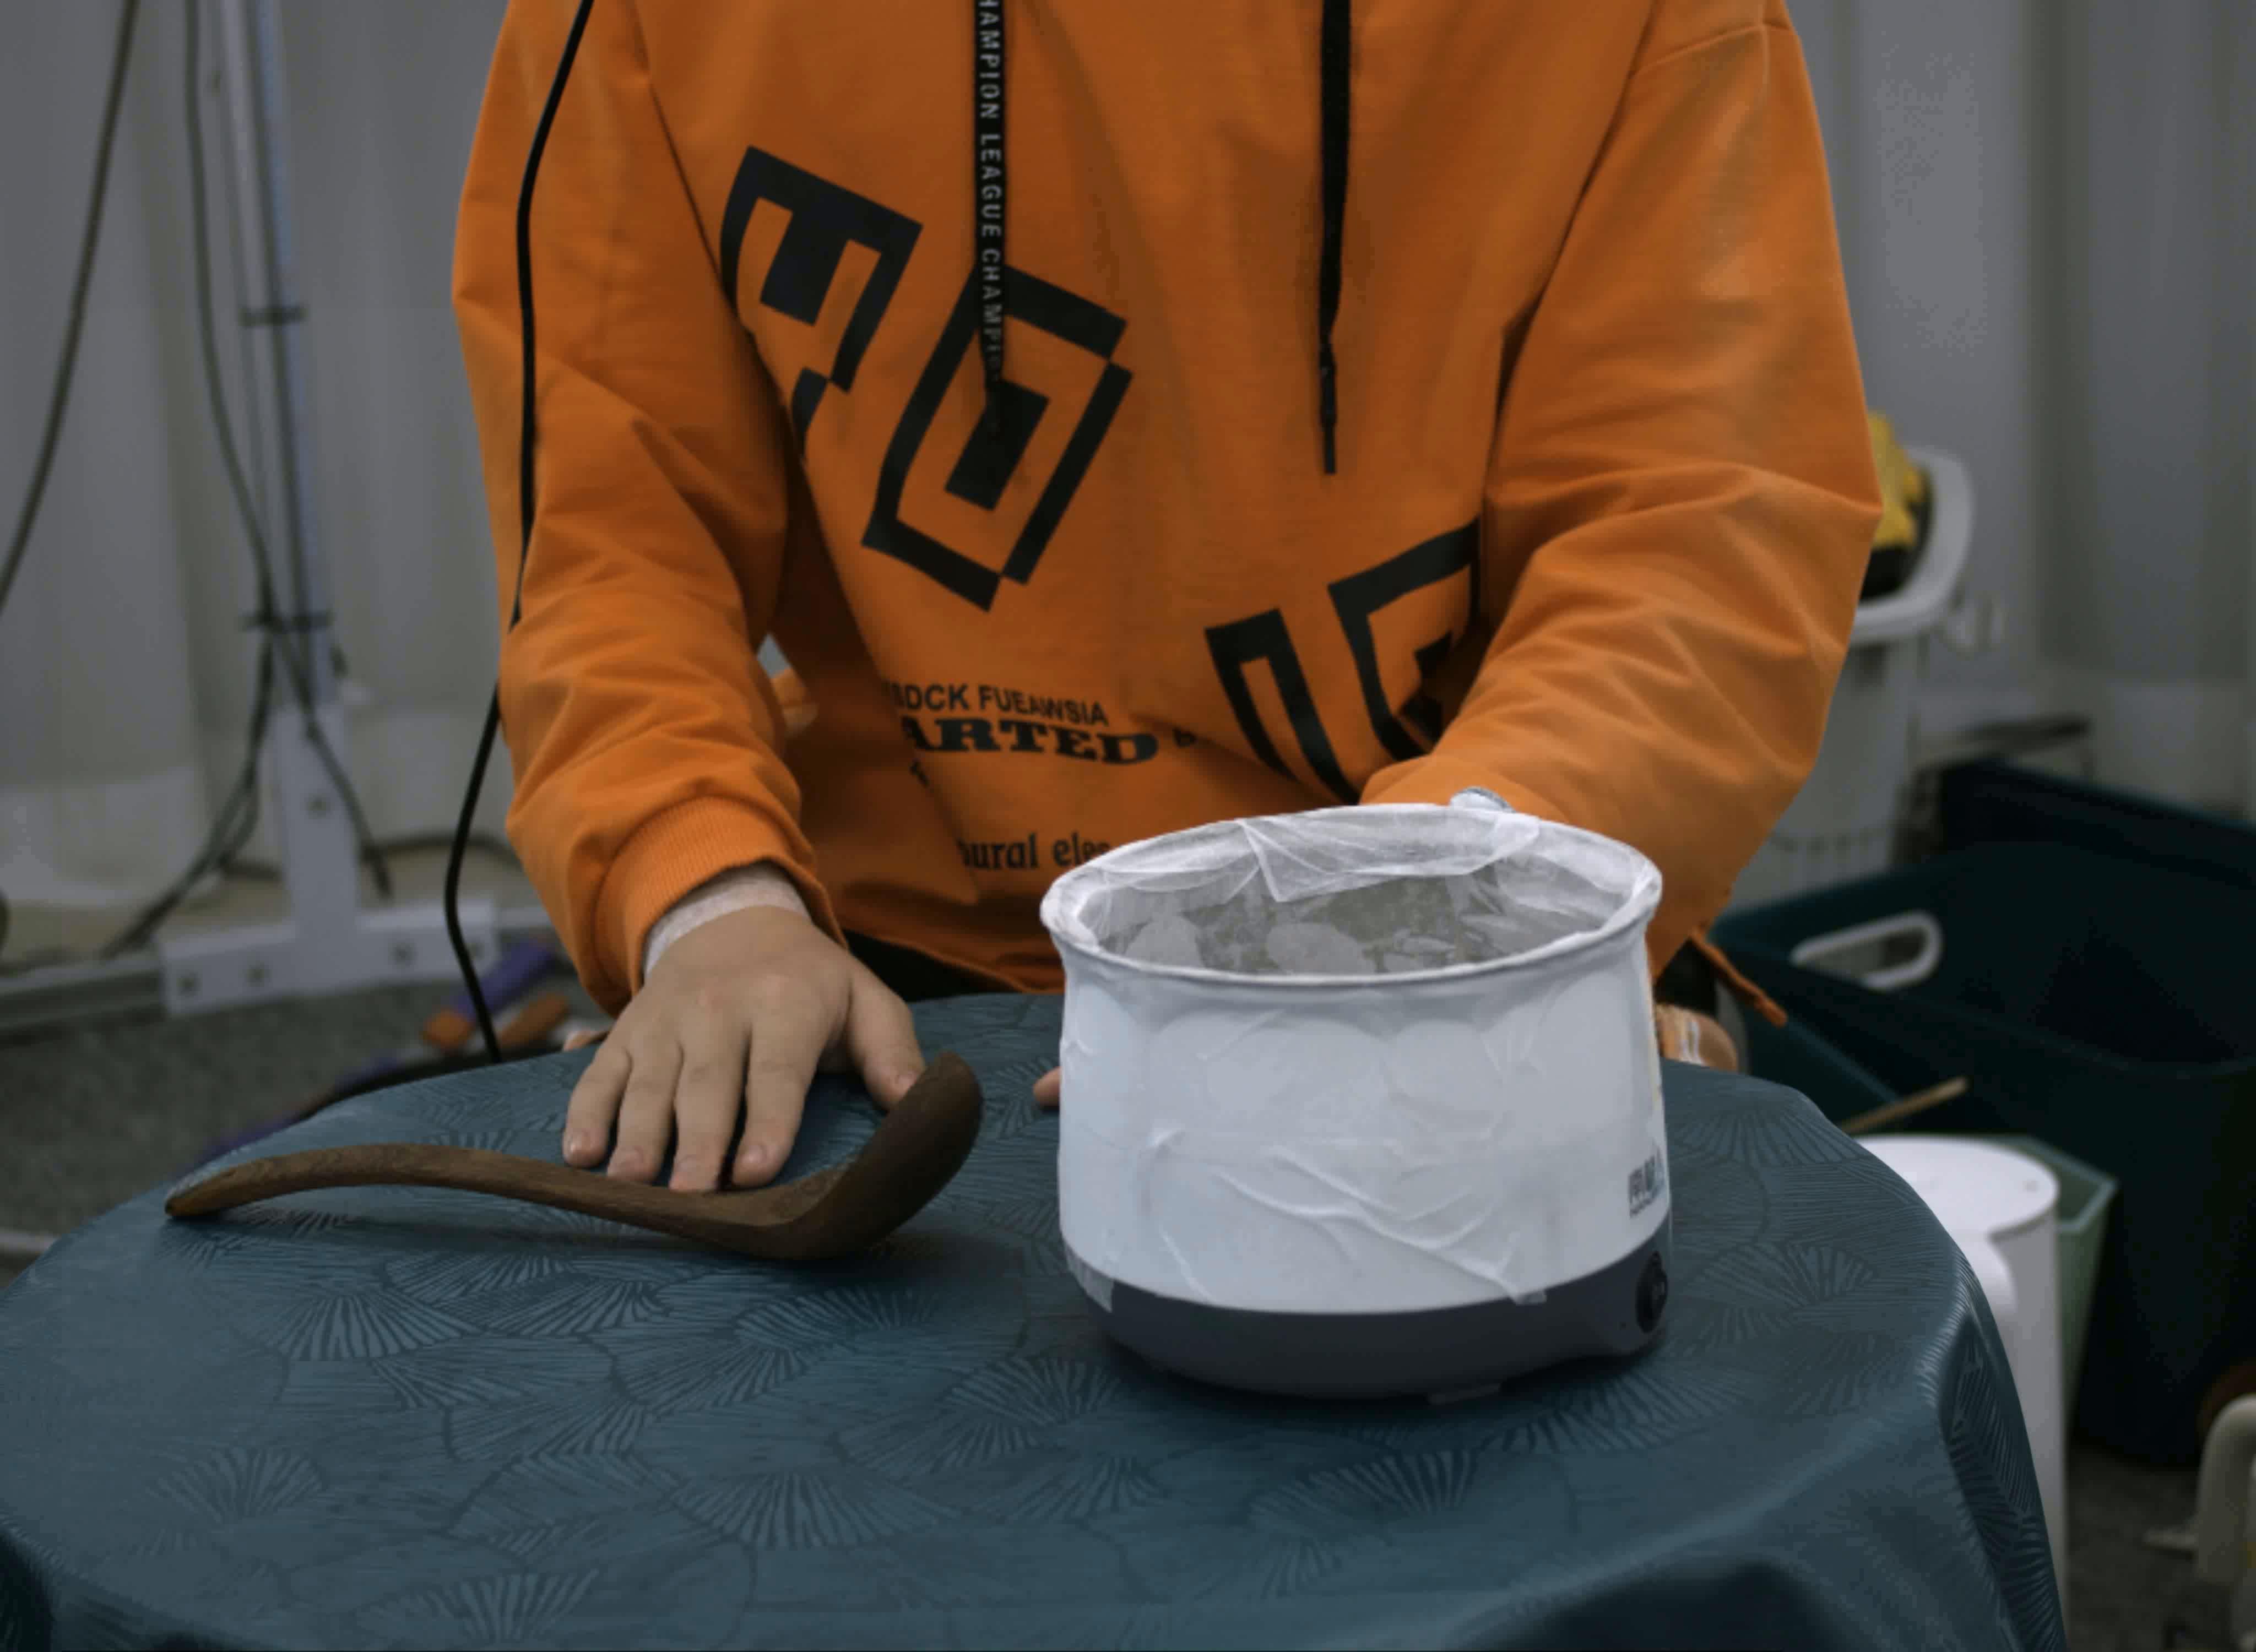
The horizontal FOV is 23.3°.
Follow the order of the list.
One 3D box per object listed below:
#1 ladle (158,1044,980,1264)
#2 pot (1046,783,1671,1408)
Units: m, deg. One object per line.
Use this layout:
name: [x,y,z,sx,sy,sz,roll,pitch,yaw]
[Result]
ladle: [-0.177,0.095,1.691,0.274,0.071,0.076,3,13,19]
pot: [0.078,0.072,1.595,0.179,0.136,0.234,4,16,23]
